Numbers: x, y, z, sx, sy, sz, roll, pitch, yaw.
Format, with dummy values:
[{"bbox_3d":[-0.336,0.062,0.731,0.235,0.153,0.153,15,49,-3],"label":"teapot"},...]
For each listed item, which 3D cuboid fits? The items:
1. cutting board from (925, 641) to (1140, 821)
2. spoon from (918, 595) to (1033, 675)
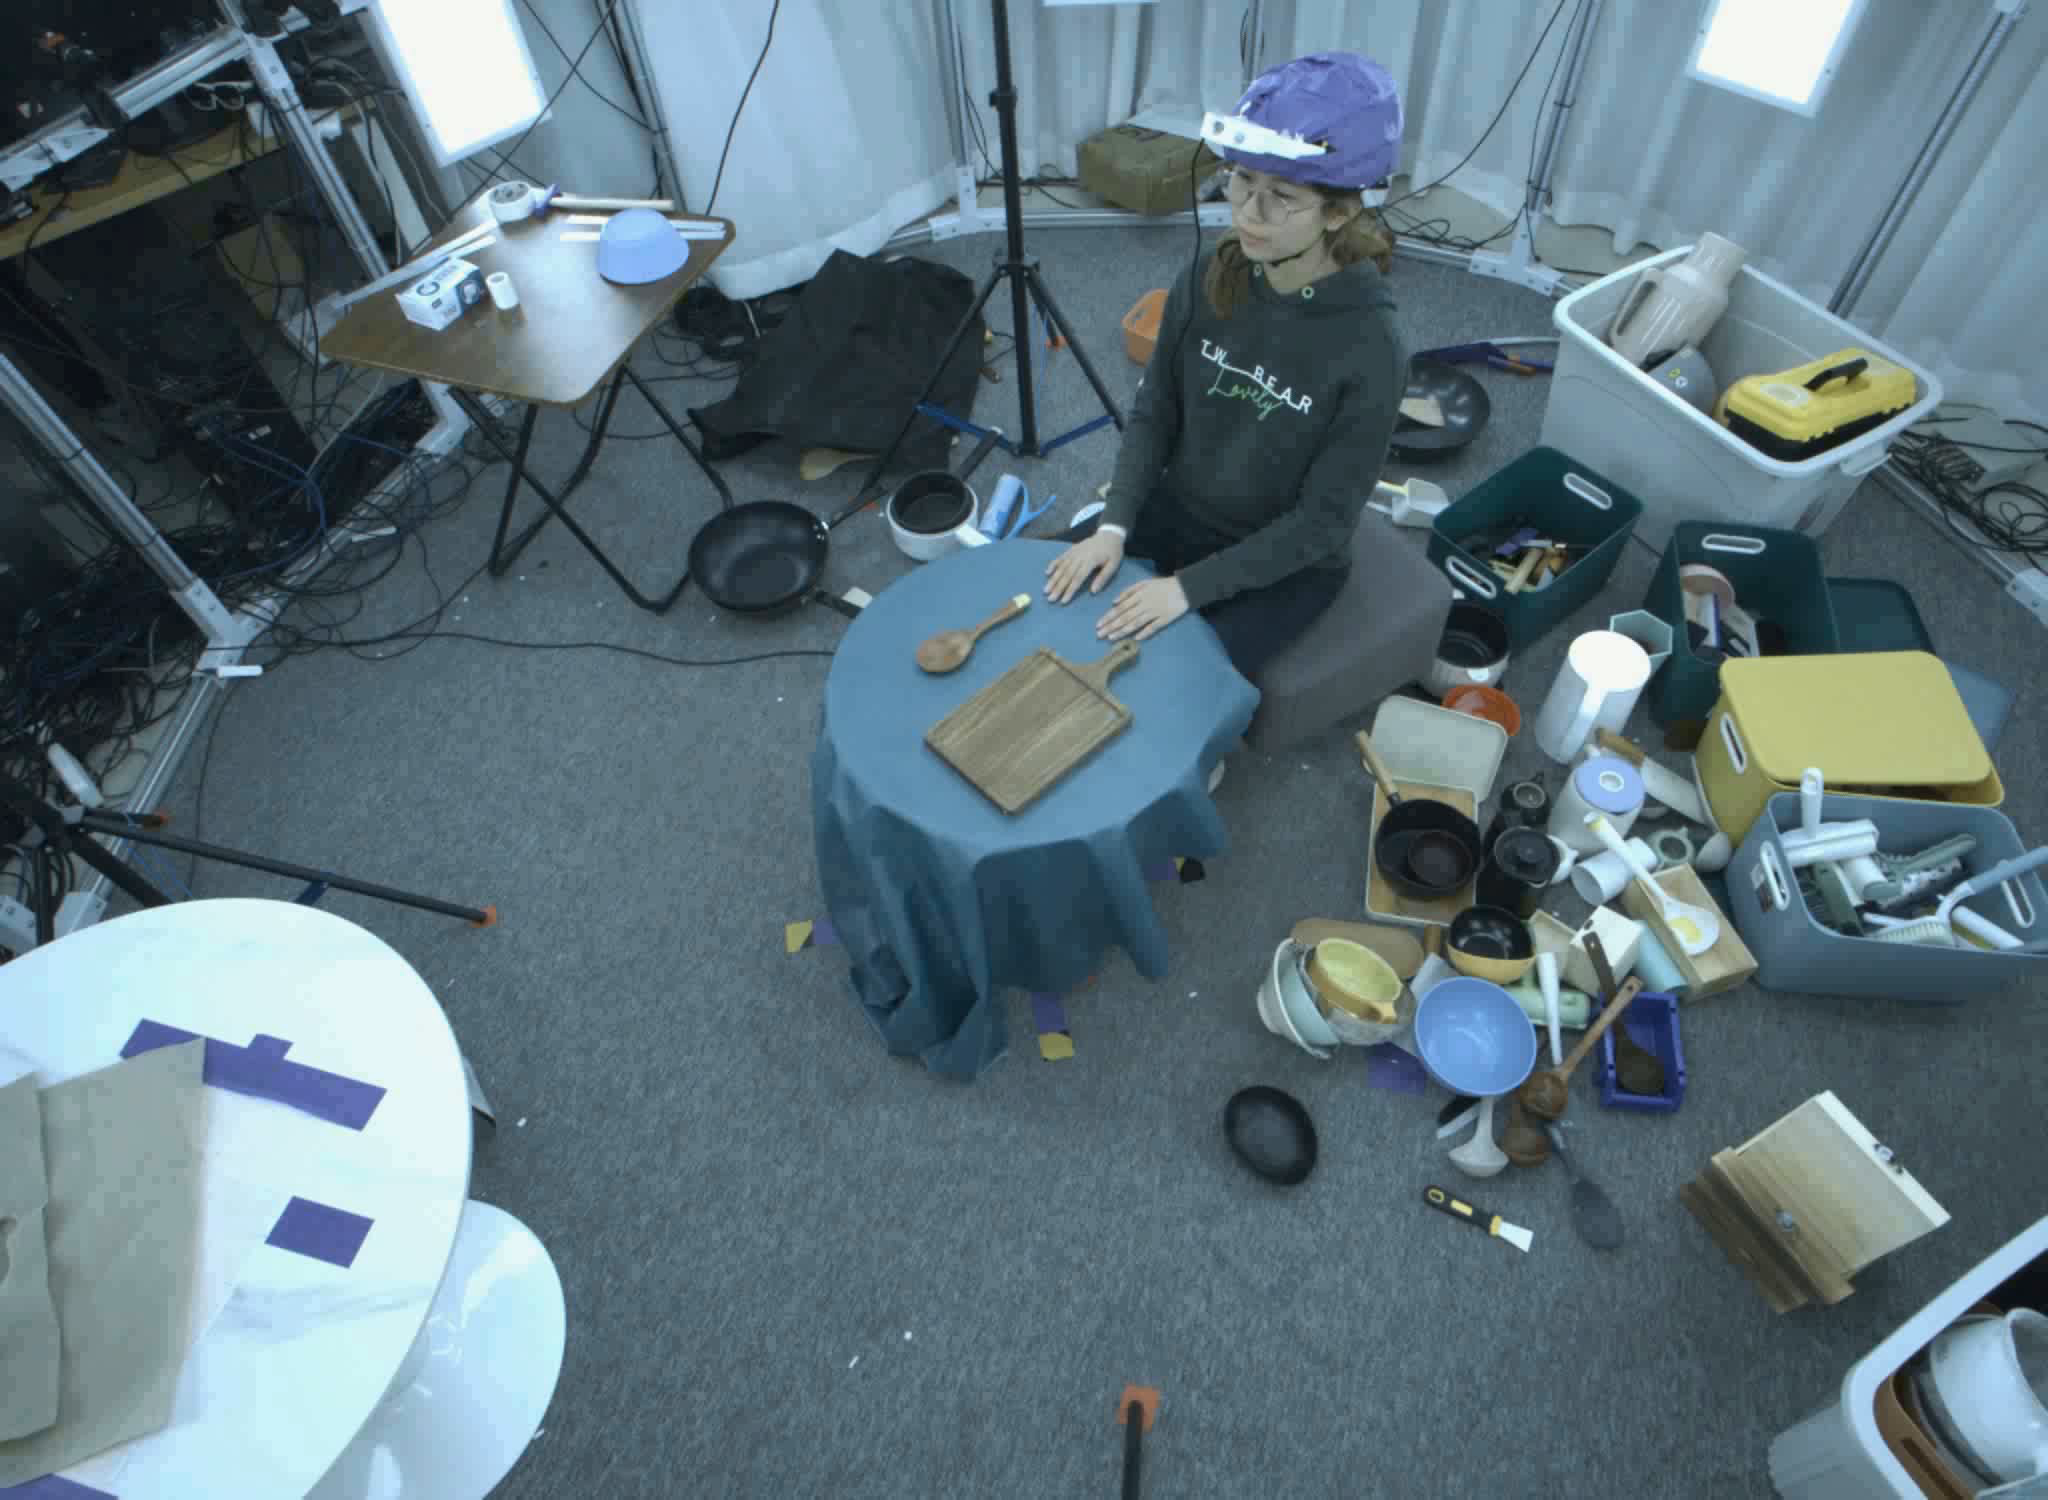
[{"bbox_3d":[0.045,-0.056,1.825,0.355,0.023,0.197,-38,61,-23],"label":"cutting board"},{"bbox_3d":[-0.072,-0.180,1.915,0.217,0.017,0.074,-36,59,-20],"label":"spoon"}]
